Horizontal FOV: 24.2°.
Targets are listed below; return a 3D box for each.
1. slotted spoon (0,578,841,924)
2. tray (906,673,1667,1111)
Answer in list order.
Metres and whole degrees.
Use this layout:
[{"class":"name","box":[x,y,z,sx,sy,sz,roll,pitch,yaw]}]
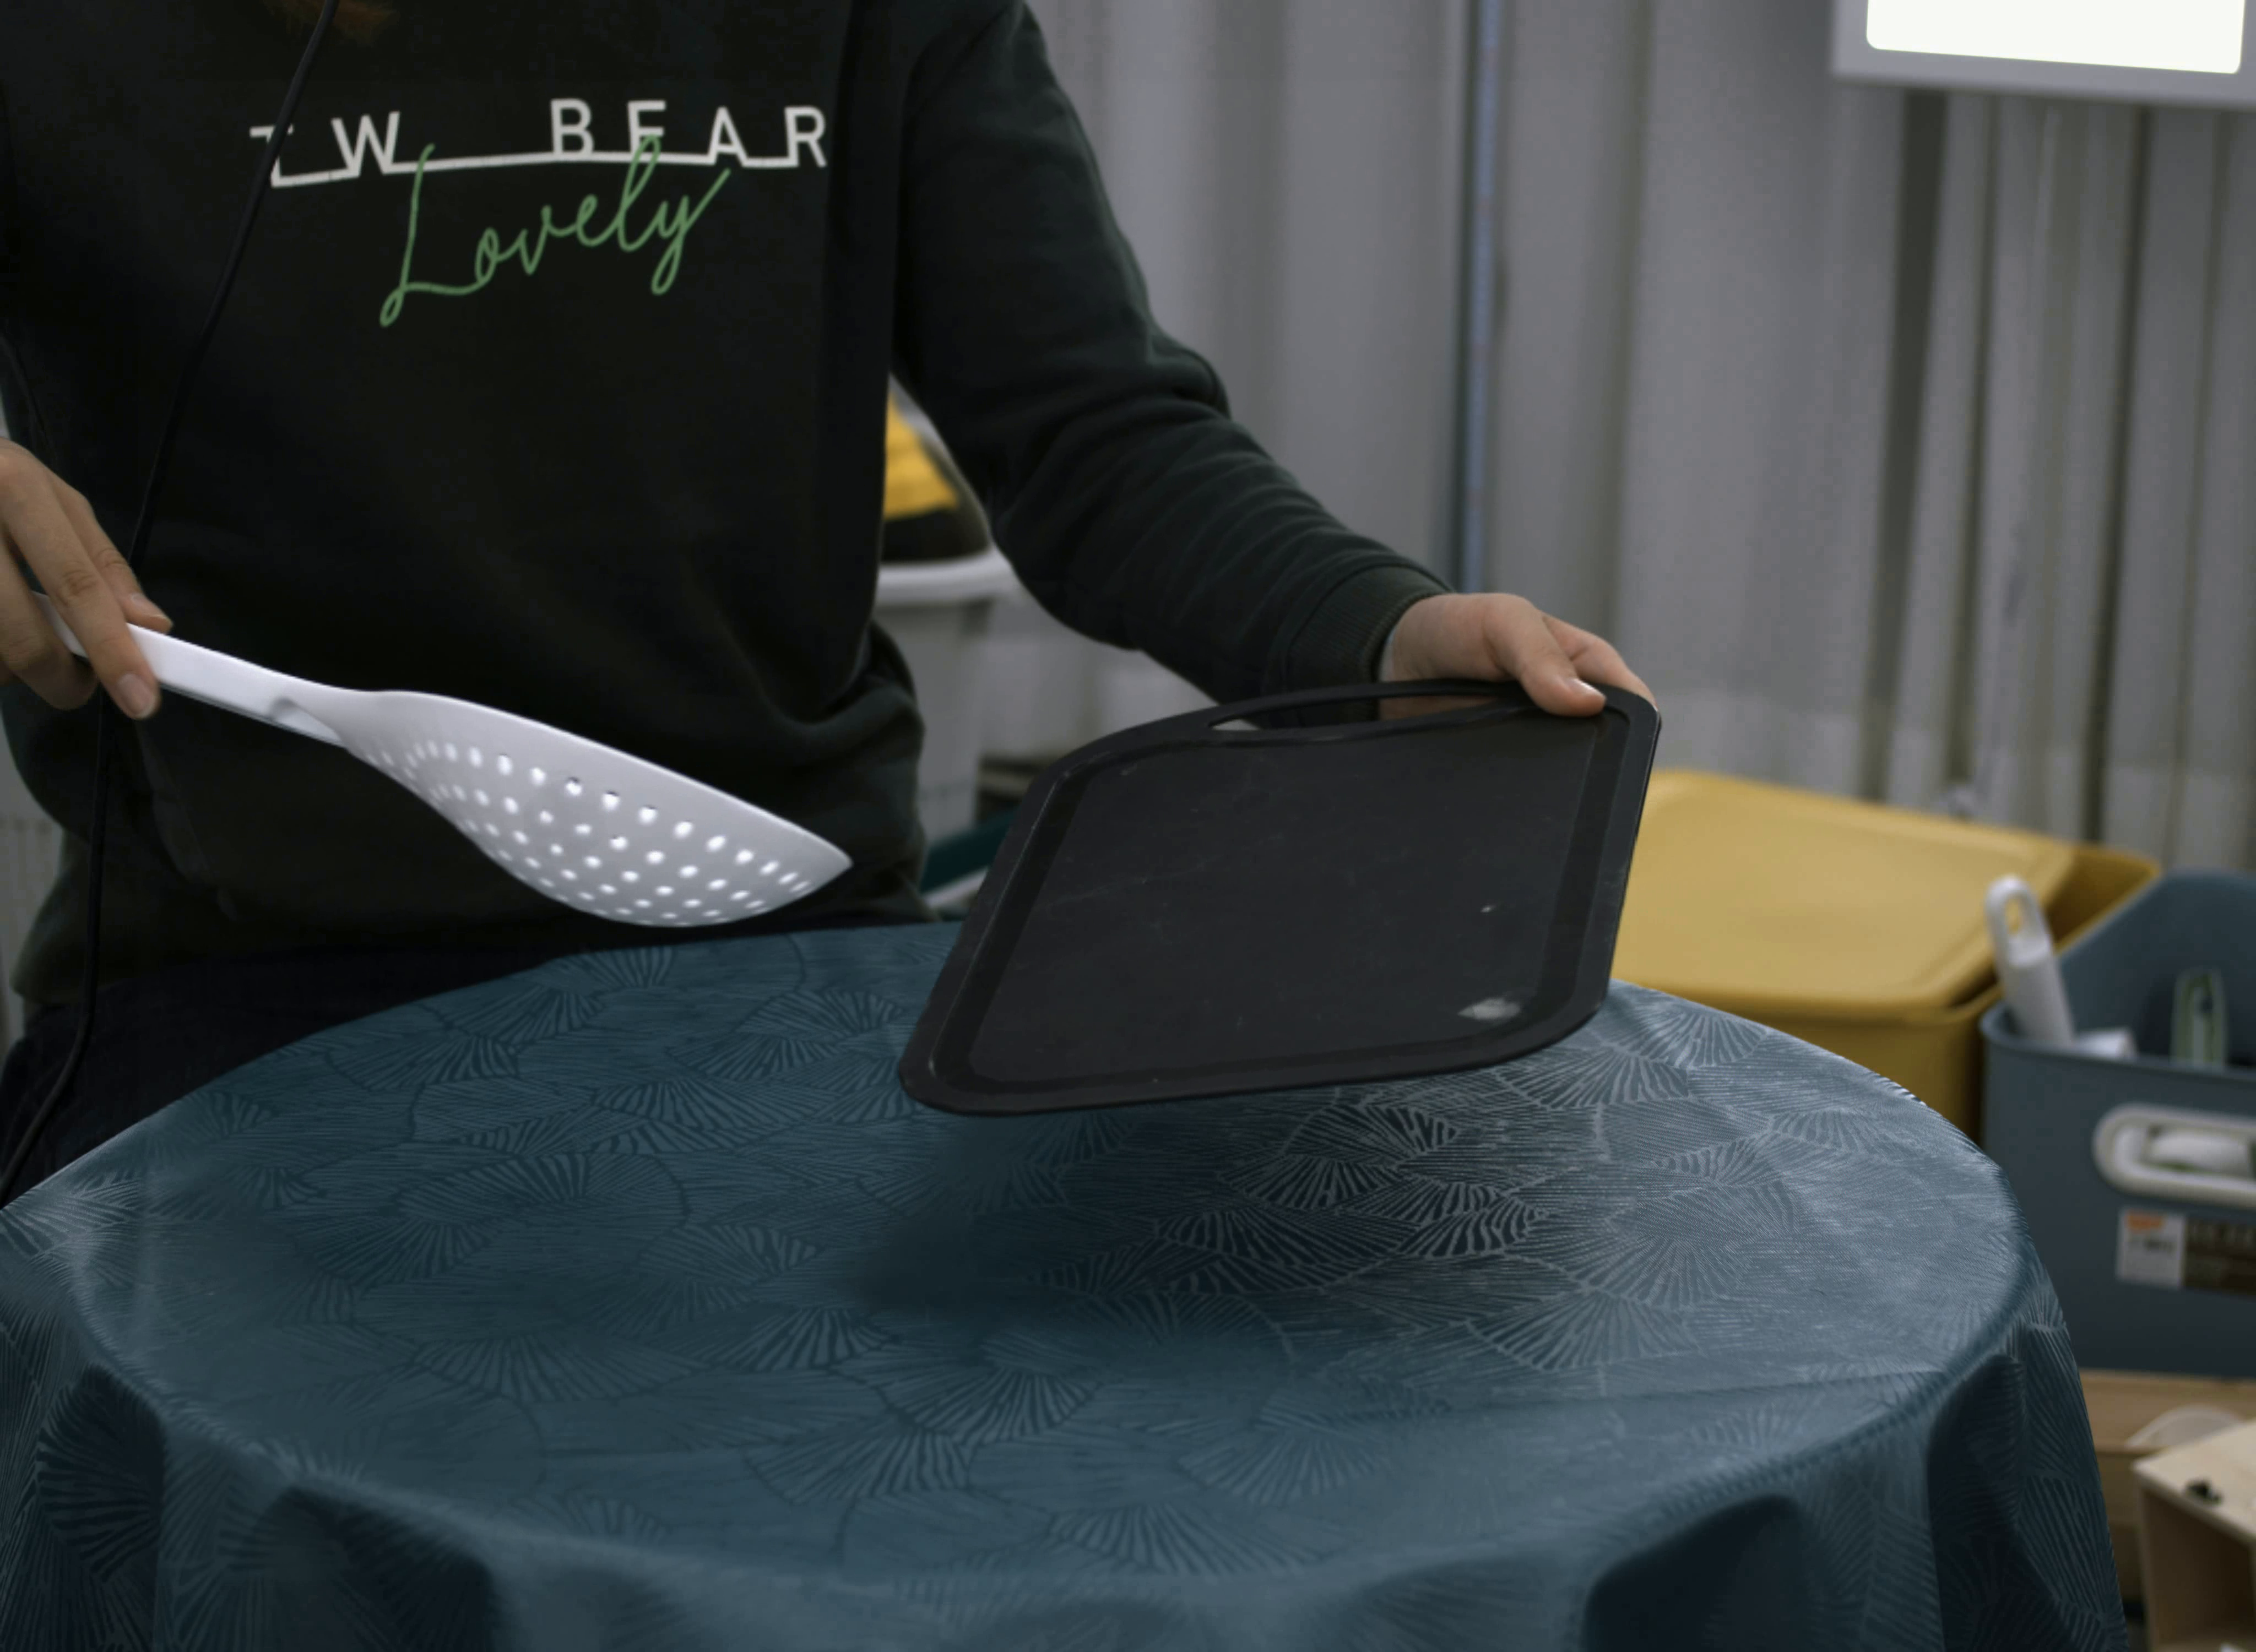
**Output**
[{"class":"slotted spoon","box":[-0.237,-0.035,1.548,0.345,0.046,0.137,23,-6,29]},{"class":"tray","box":[0.055,0.012,1.626,0.210,0.010,0.324,-5,21,12]}]
